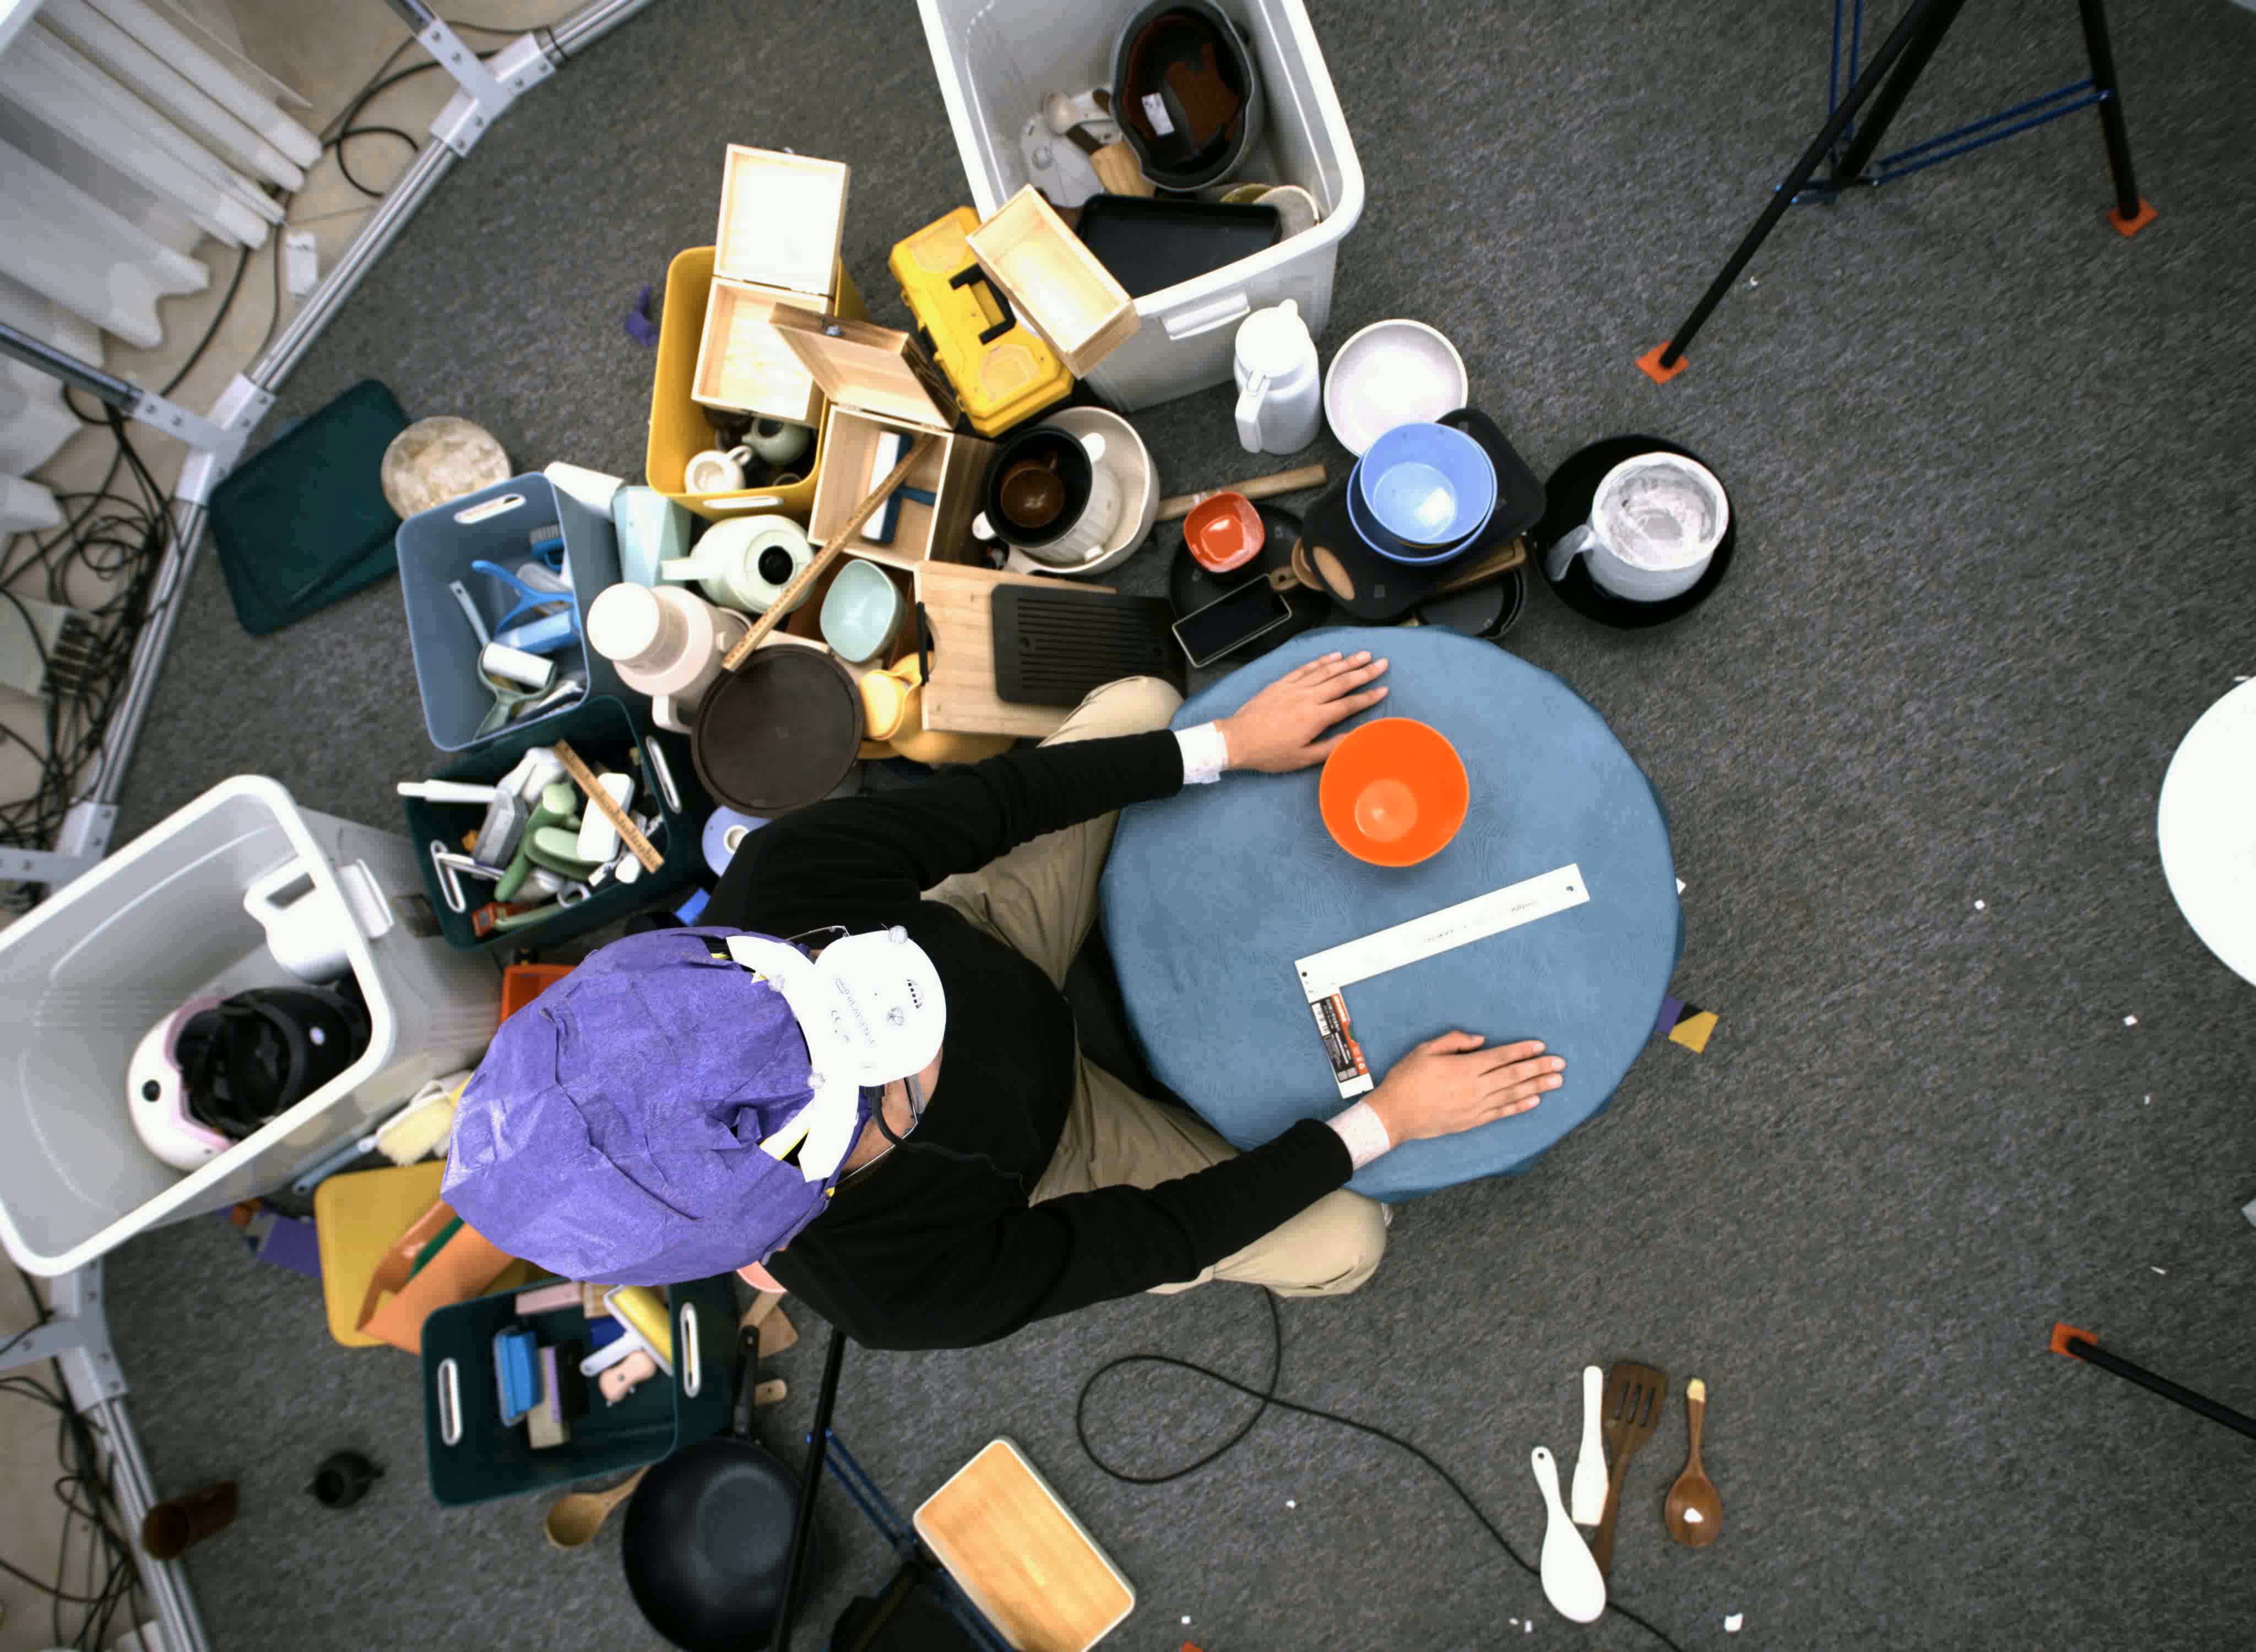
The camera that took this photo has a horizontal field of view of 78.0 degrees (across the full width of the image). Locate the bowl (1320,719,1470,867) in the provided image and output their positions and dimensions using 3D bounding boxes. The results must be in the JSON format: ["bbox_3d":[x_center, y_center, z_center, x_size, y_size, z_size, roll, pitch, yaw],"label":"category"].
[{"bbox_3d":[0.272,-0.030,1.415,0.148,0.104,0.147,-1,87,10],"label":"bowl"}]

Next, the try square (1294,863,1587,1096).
[{"bbox_3d":[0.342,0.159,1.442,0.314,0.016,0.152,-20,88,8],"label":"try square"}]
